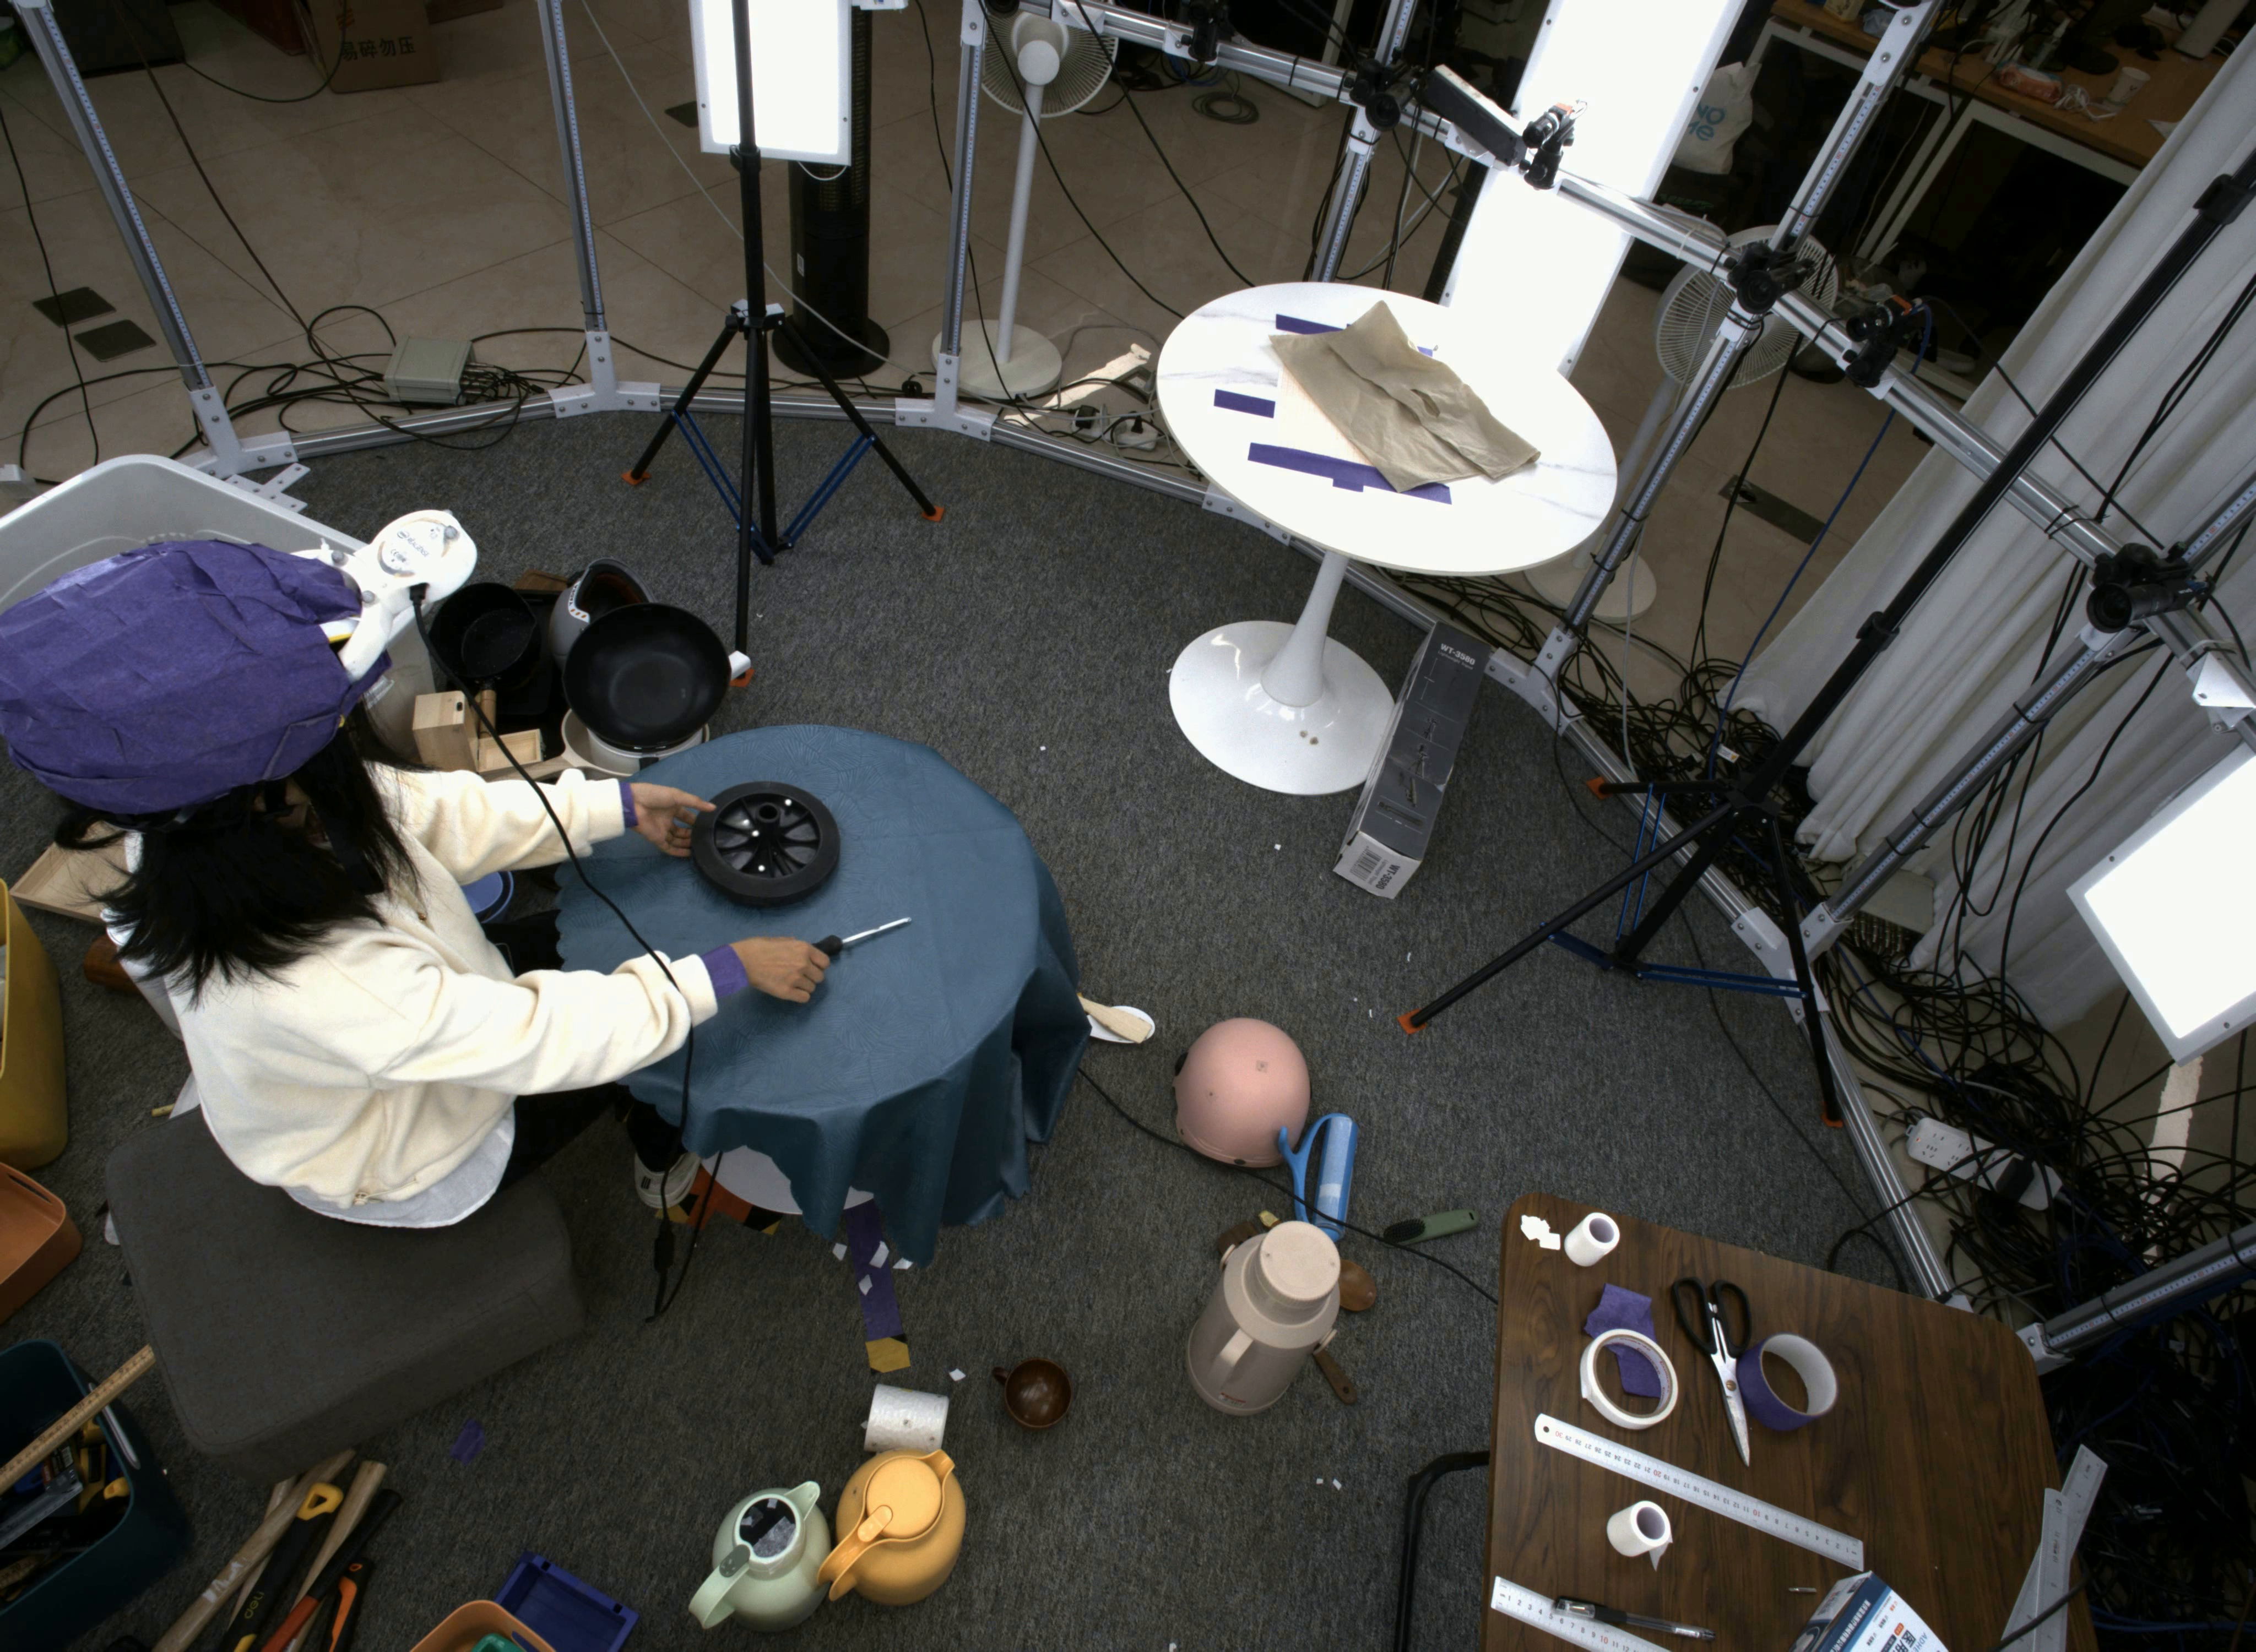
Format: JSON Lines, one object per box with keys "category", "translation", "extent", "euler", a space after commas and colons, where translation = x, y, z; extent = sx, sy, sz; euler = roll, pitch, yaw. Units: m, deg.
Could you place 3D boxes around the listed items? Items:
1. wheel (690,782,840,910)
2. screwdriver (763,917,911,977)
{"category": "wheel", "translation": [-0.461, 0.010, 1.653], "extent": [0.188, 0.080, 0.186], "euler": [34, 50, 3]}
{"category": "screwdriver", "translation": [-0.360, 0.141, 1.615], "extent": [0.197, 0.032, 0.030], "euler": [-23, 60, -30]}
